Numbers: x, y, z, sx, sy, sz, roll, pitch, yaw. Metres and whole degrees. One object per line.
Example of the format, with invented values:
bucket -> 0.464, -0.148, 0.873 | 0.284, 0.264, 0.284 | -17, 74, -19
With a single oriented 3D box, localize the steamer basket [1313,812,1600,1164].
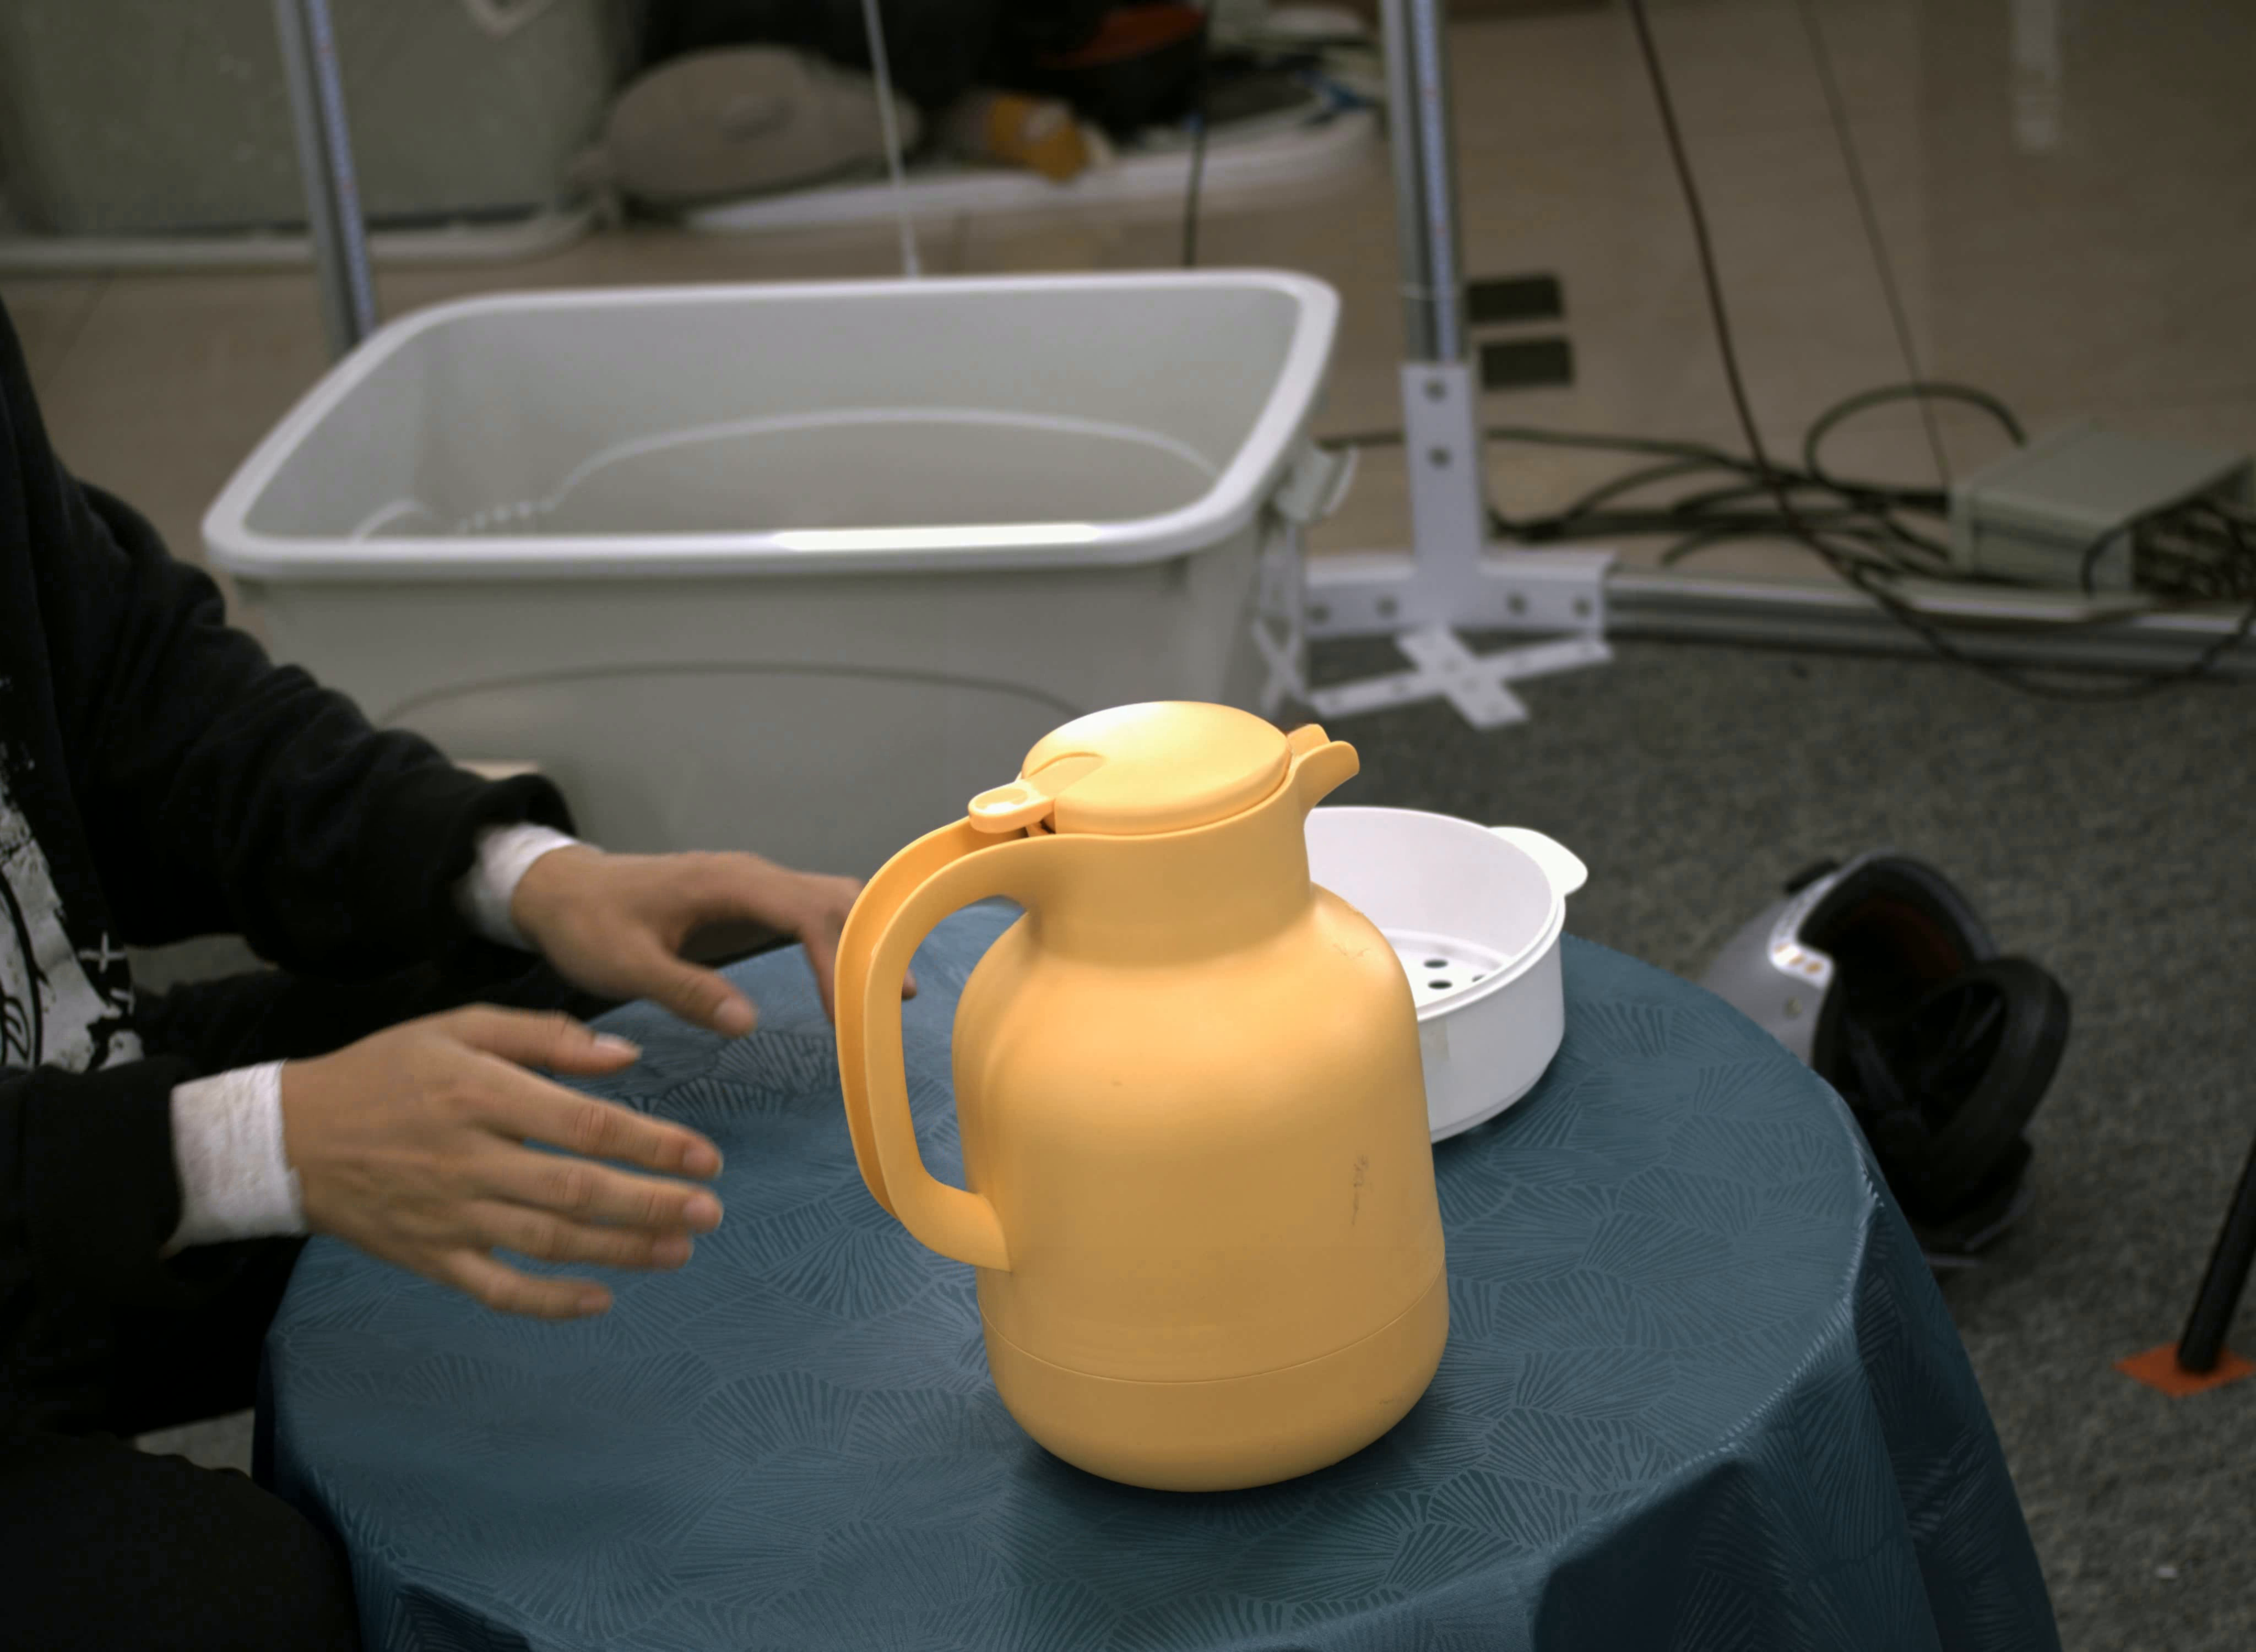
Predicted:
steamer basket -> 0.077, 0.066, 2.216 | 0.229, 0.070, 0.199 | -16, 27, -19

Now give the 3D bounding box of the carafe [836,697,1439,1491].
carafe -> 0.002, 0.091, 1.936 | 0.201, 0.264, 0.161 | -14, 24, -20
